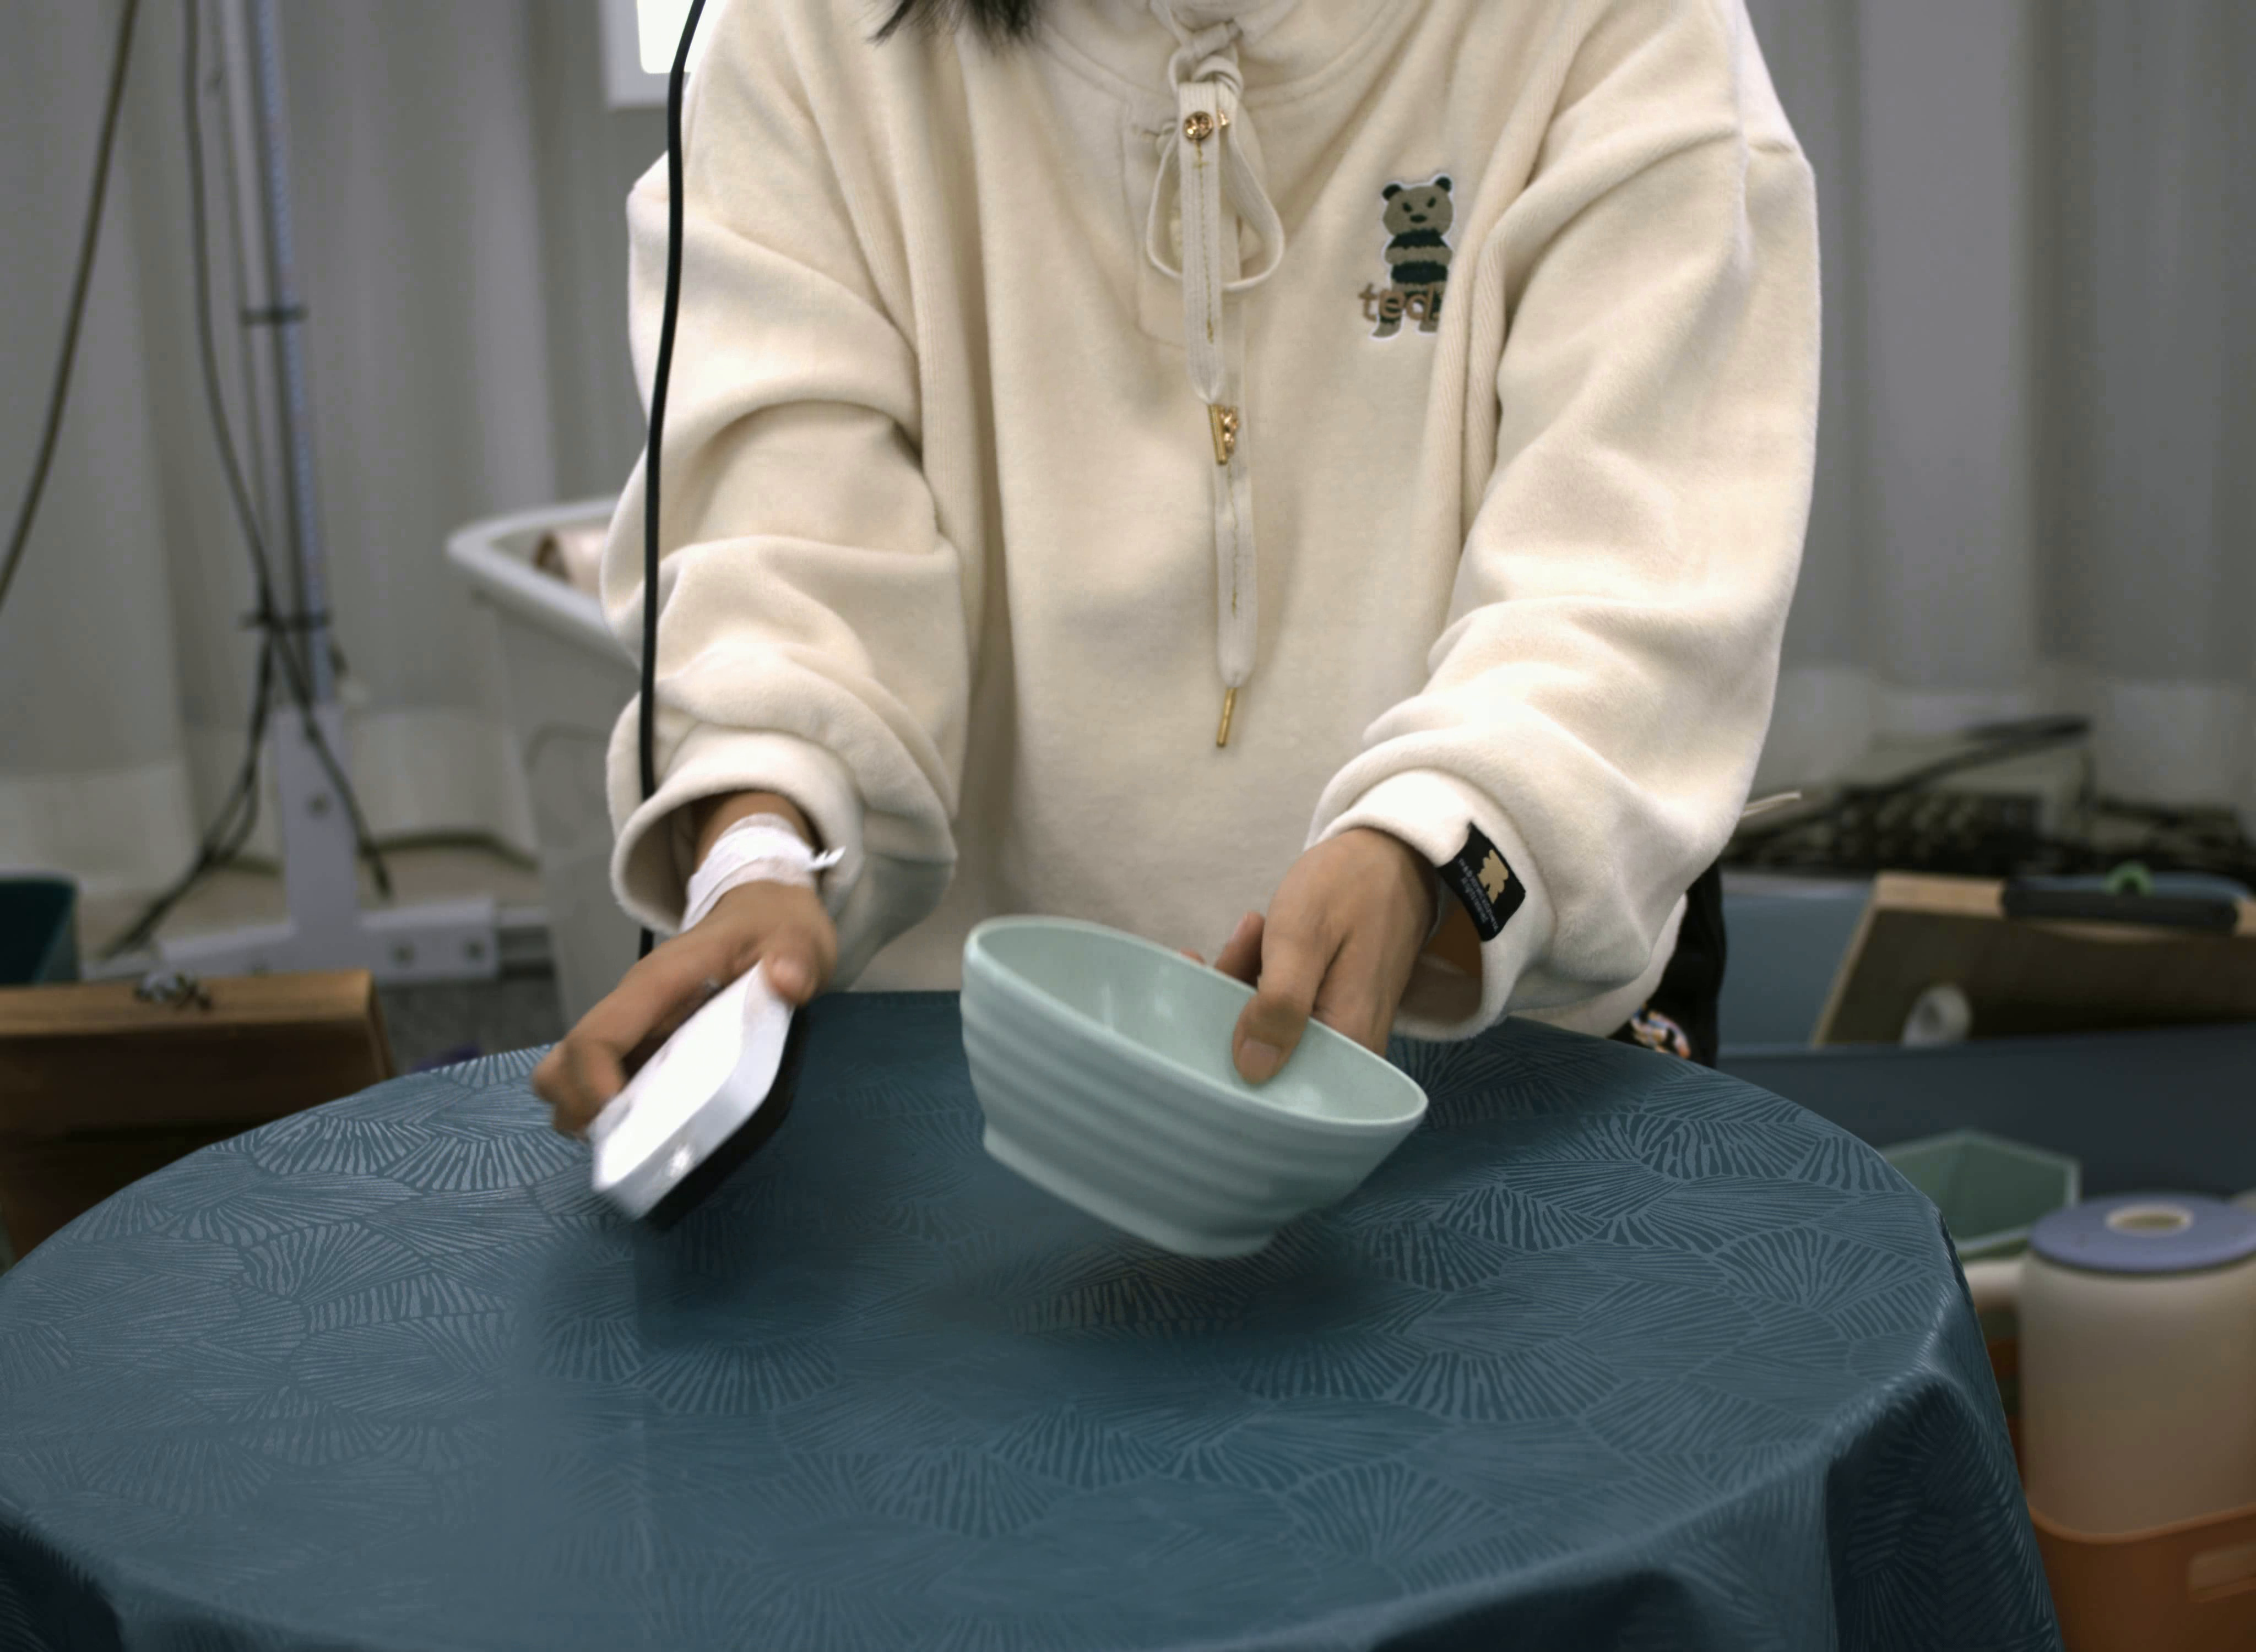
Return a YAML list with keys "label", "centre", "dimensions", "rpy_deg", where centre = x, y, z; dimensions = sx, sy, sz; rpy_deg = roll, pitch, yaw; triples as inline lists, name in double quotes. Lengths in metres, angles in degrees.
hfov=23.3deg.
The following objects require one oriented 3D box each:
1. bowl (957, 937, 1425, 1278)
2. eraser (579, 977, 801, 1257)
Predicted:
- label: "bowl"
  centre: [0.010, 0.088, 1.612]
  dimensions: [0.151, 0.058, 0.152]
  rpy_deg: [21, 10, -4]
- label: "eraser"
  centre: [-0.132, 0.085, 1.667]
  dimensions: [0.063, 0.034, 0.132]
  rpy_deg: [-39, 12, 10]
